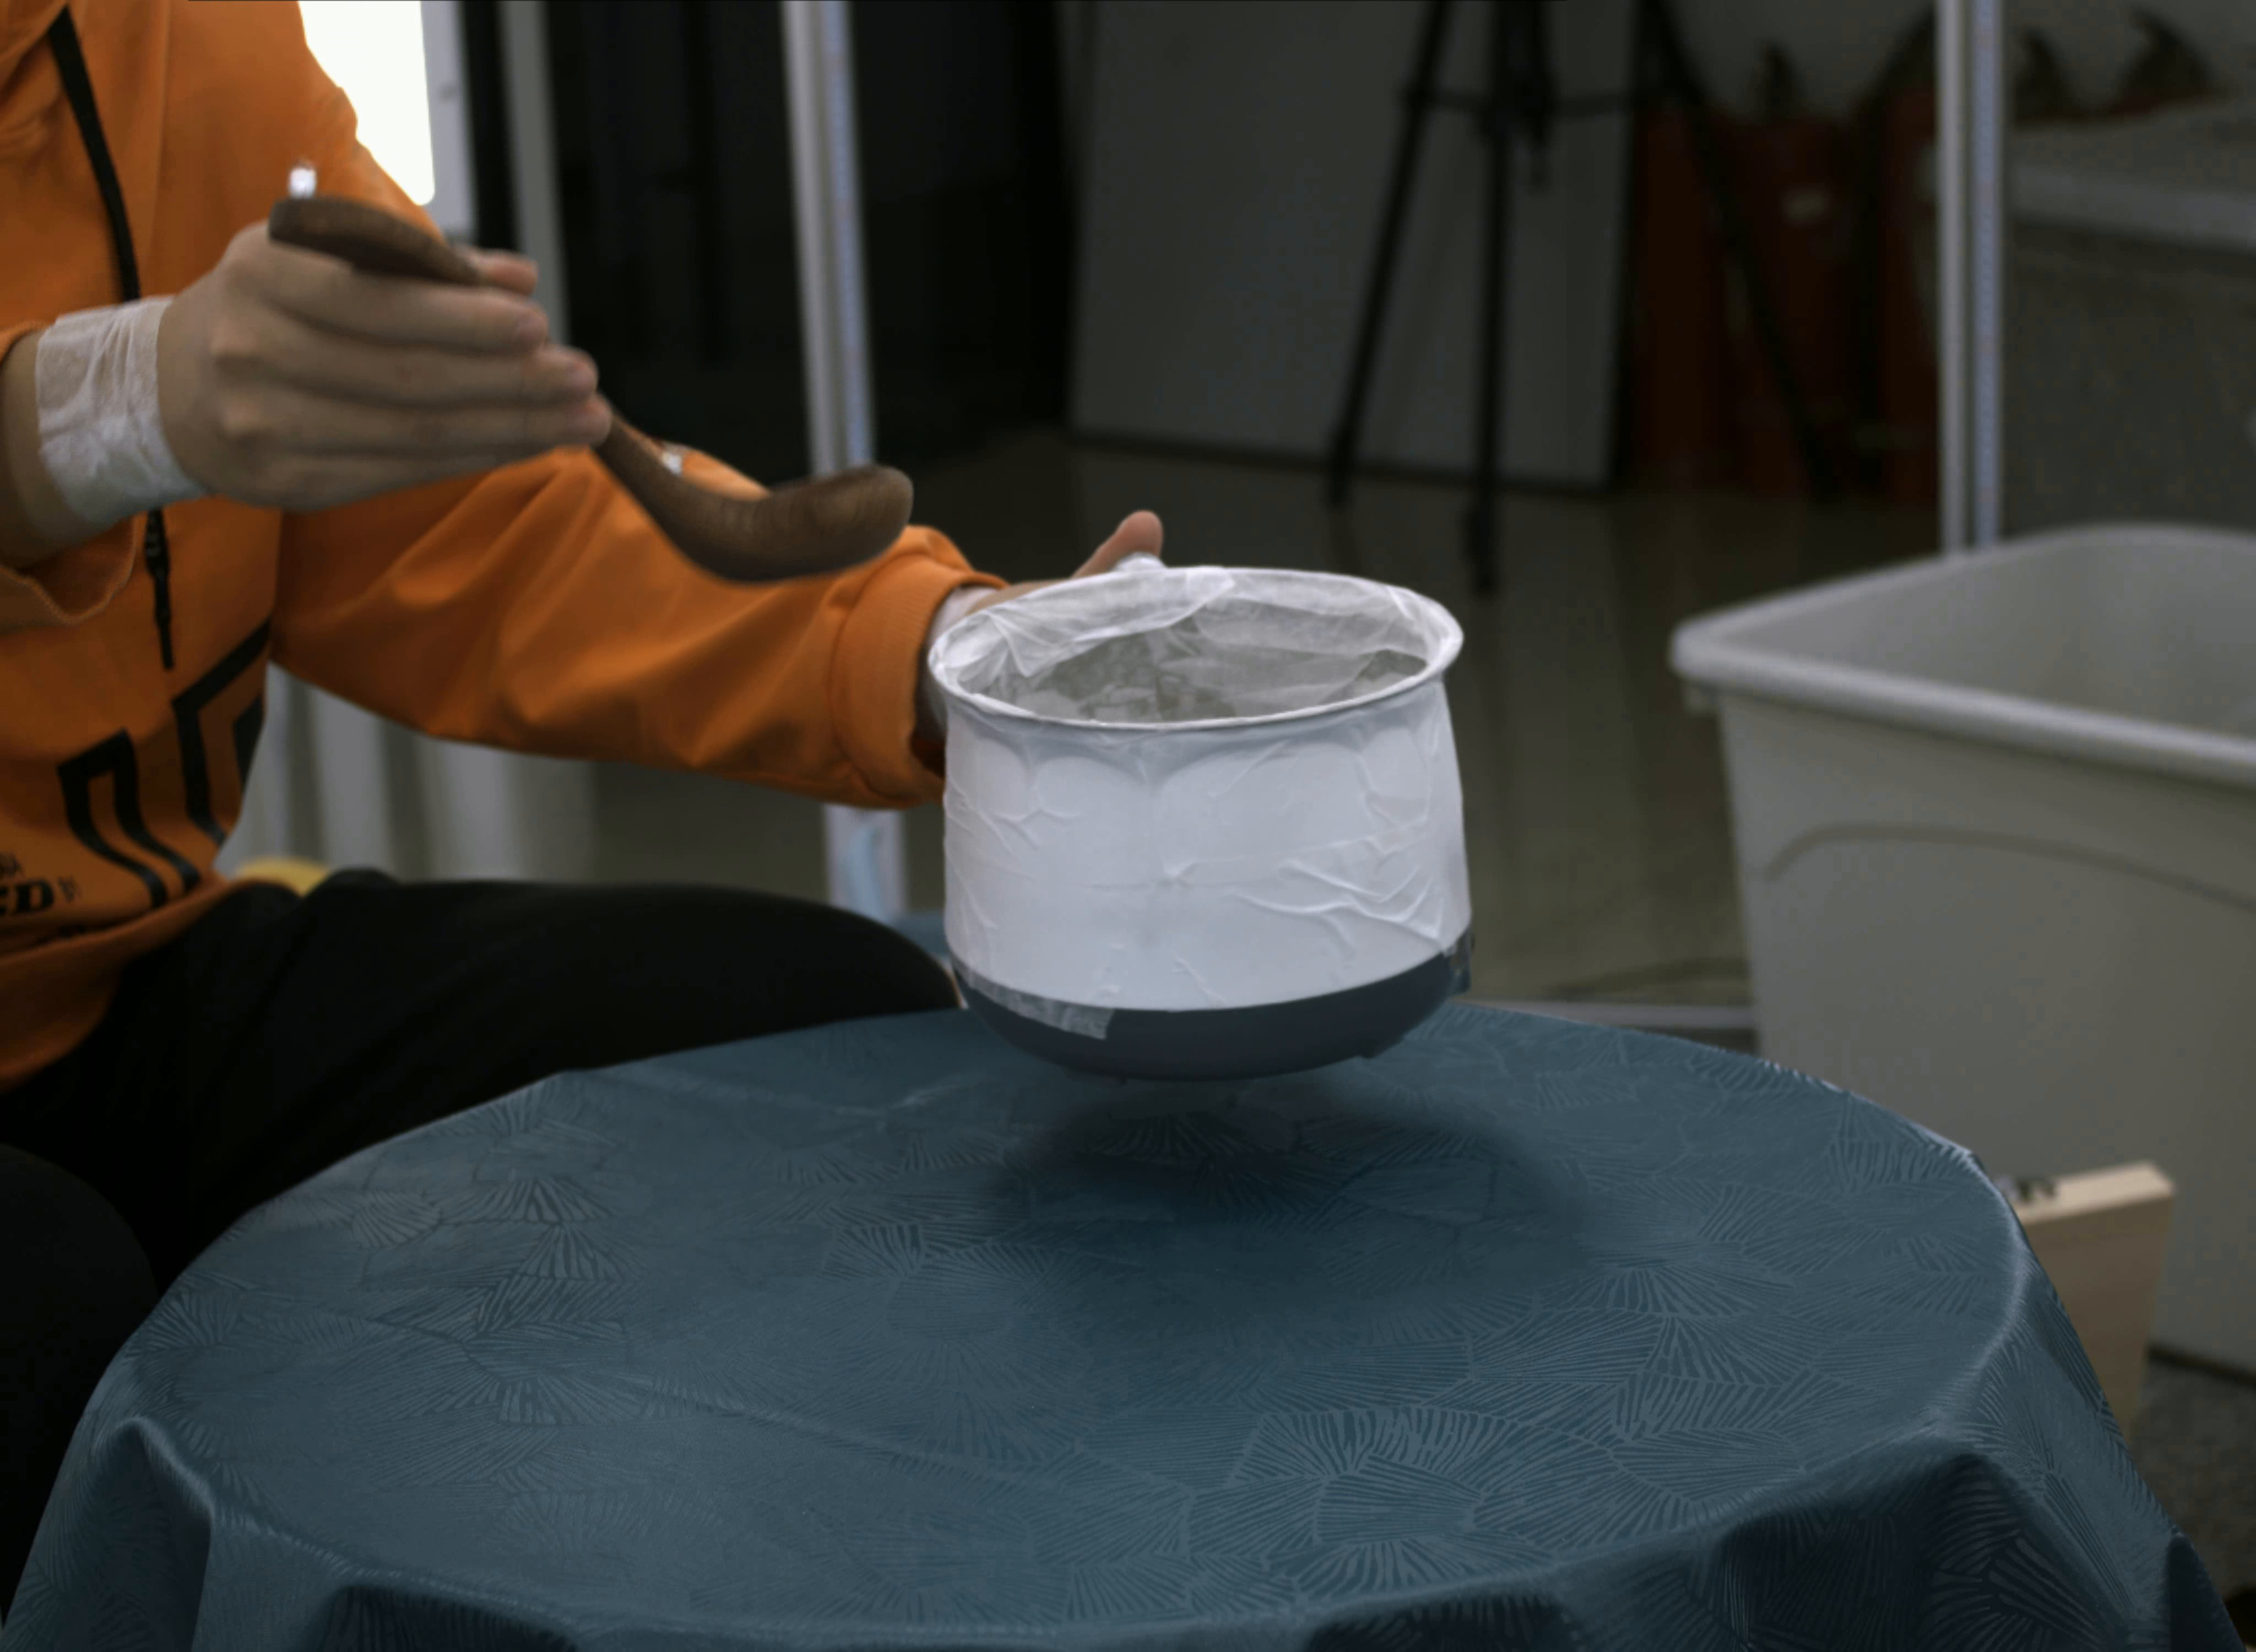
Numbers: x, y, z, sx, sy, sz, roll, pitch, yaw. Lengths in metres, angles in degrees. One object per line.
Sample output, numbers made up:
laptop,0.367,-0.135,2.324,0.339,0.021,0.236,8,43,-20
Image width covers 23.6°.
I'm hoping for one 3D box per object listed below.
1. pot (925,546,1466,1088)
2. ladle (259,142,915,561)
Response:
pot,0.018,-0.009,1.809,0.175,0.138,0.235,-6,18,-10
ladle,-0.157,-0.148,1.589,0.077,0.066,0.256,-14,-36,34
